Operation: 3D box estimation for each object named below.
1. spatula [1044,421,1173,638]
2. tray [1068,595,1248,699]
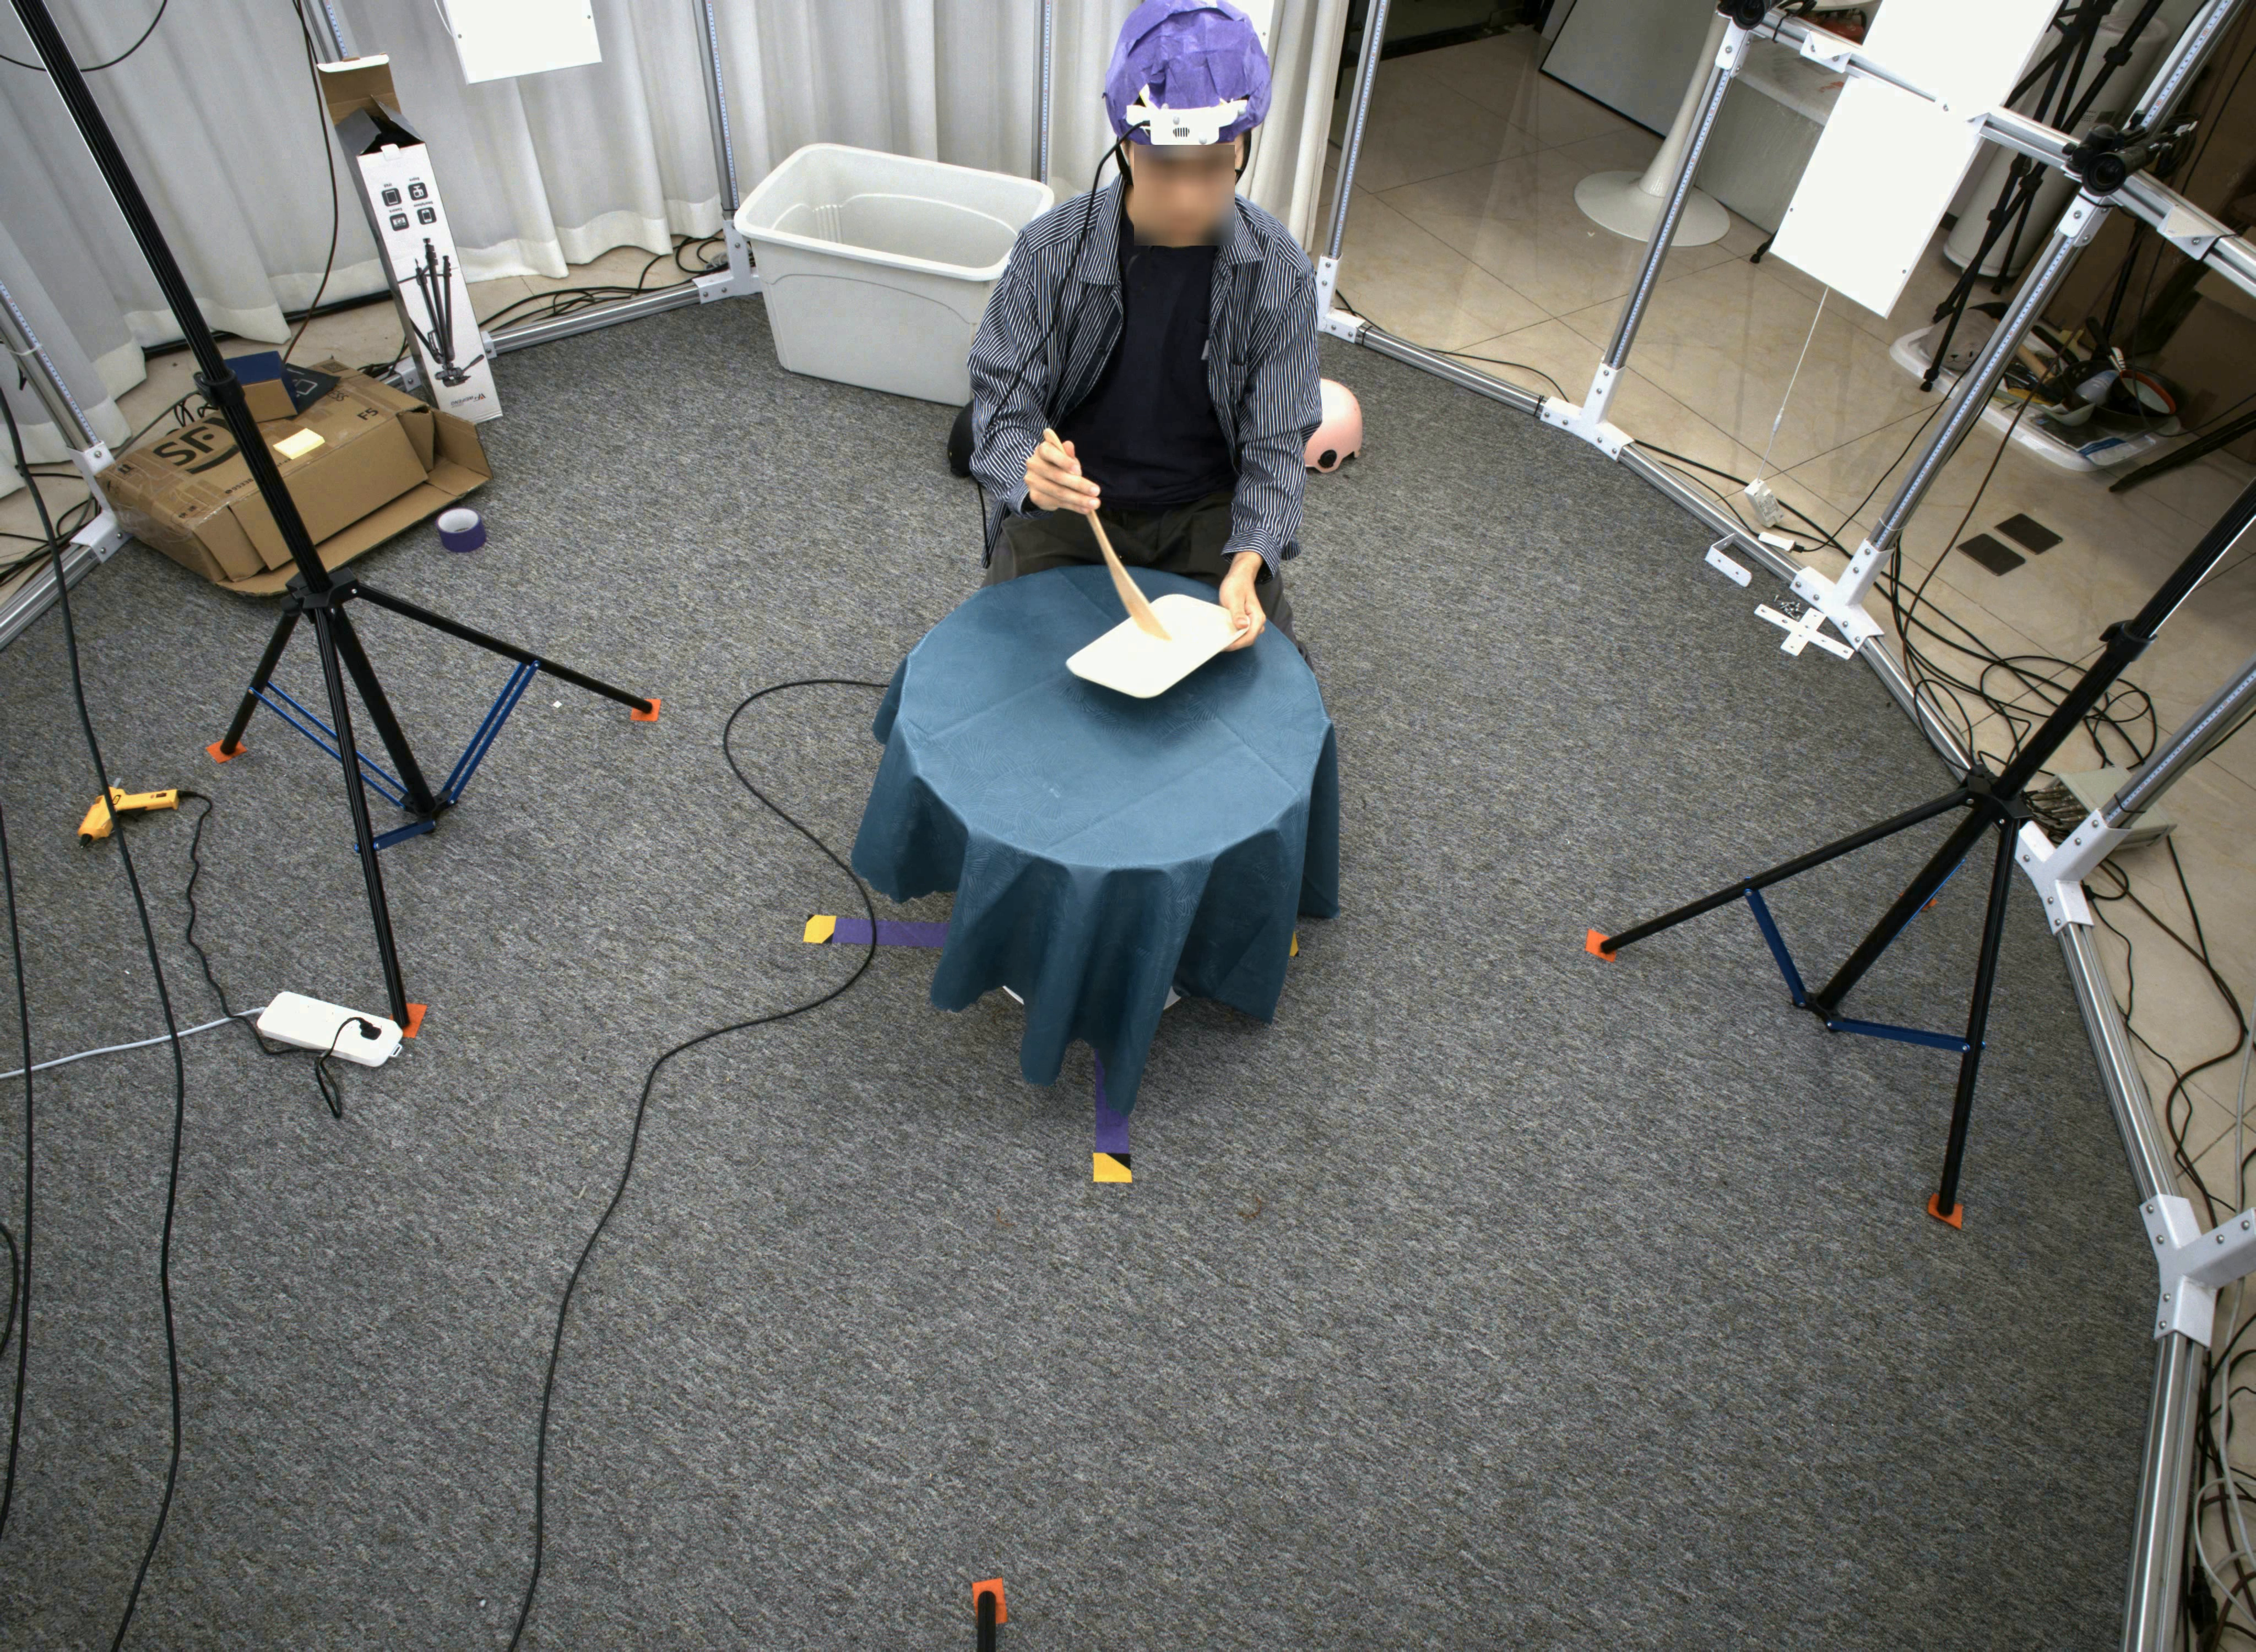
[{"bbox_3d":[-0.031,-0.390,1.723,0.016,0.322,0.081,-36,24,-18],"label":"spatula"},{"bbox_3d":[0.044,-0.255,1.819,0.173,0.017,0.242,24,48,36],"label":"tray"}]
